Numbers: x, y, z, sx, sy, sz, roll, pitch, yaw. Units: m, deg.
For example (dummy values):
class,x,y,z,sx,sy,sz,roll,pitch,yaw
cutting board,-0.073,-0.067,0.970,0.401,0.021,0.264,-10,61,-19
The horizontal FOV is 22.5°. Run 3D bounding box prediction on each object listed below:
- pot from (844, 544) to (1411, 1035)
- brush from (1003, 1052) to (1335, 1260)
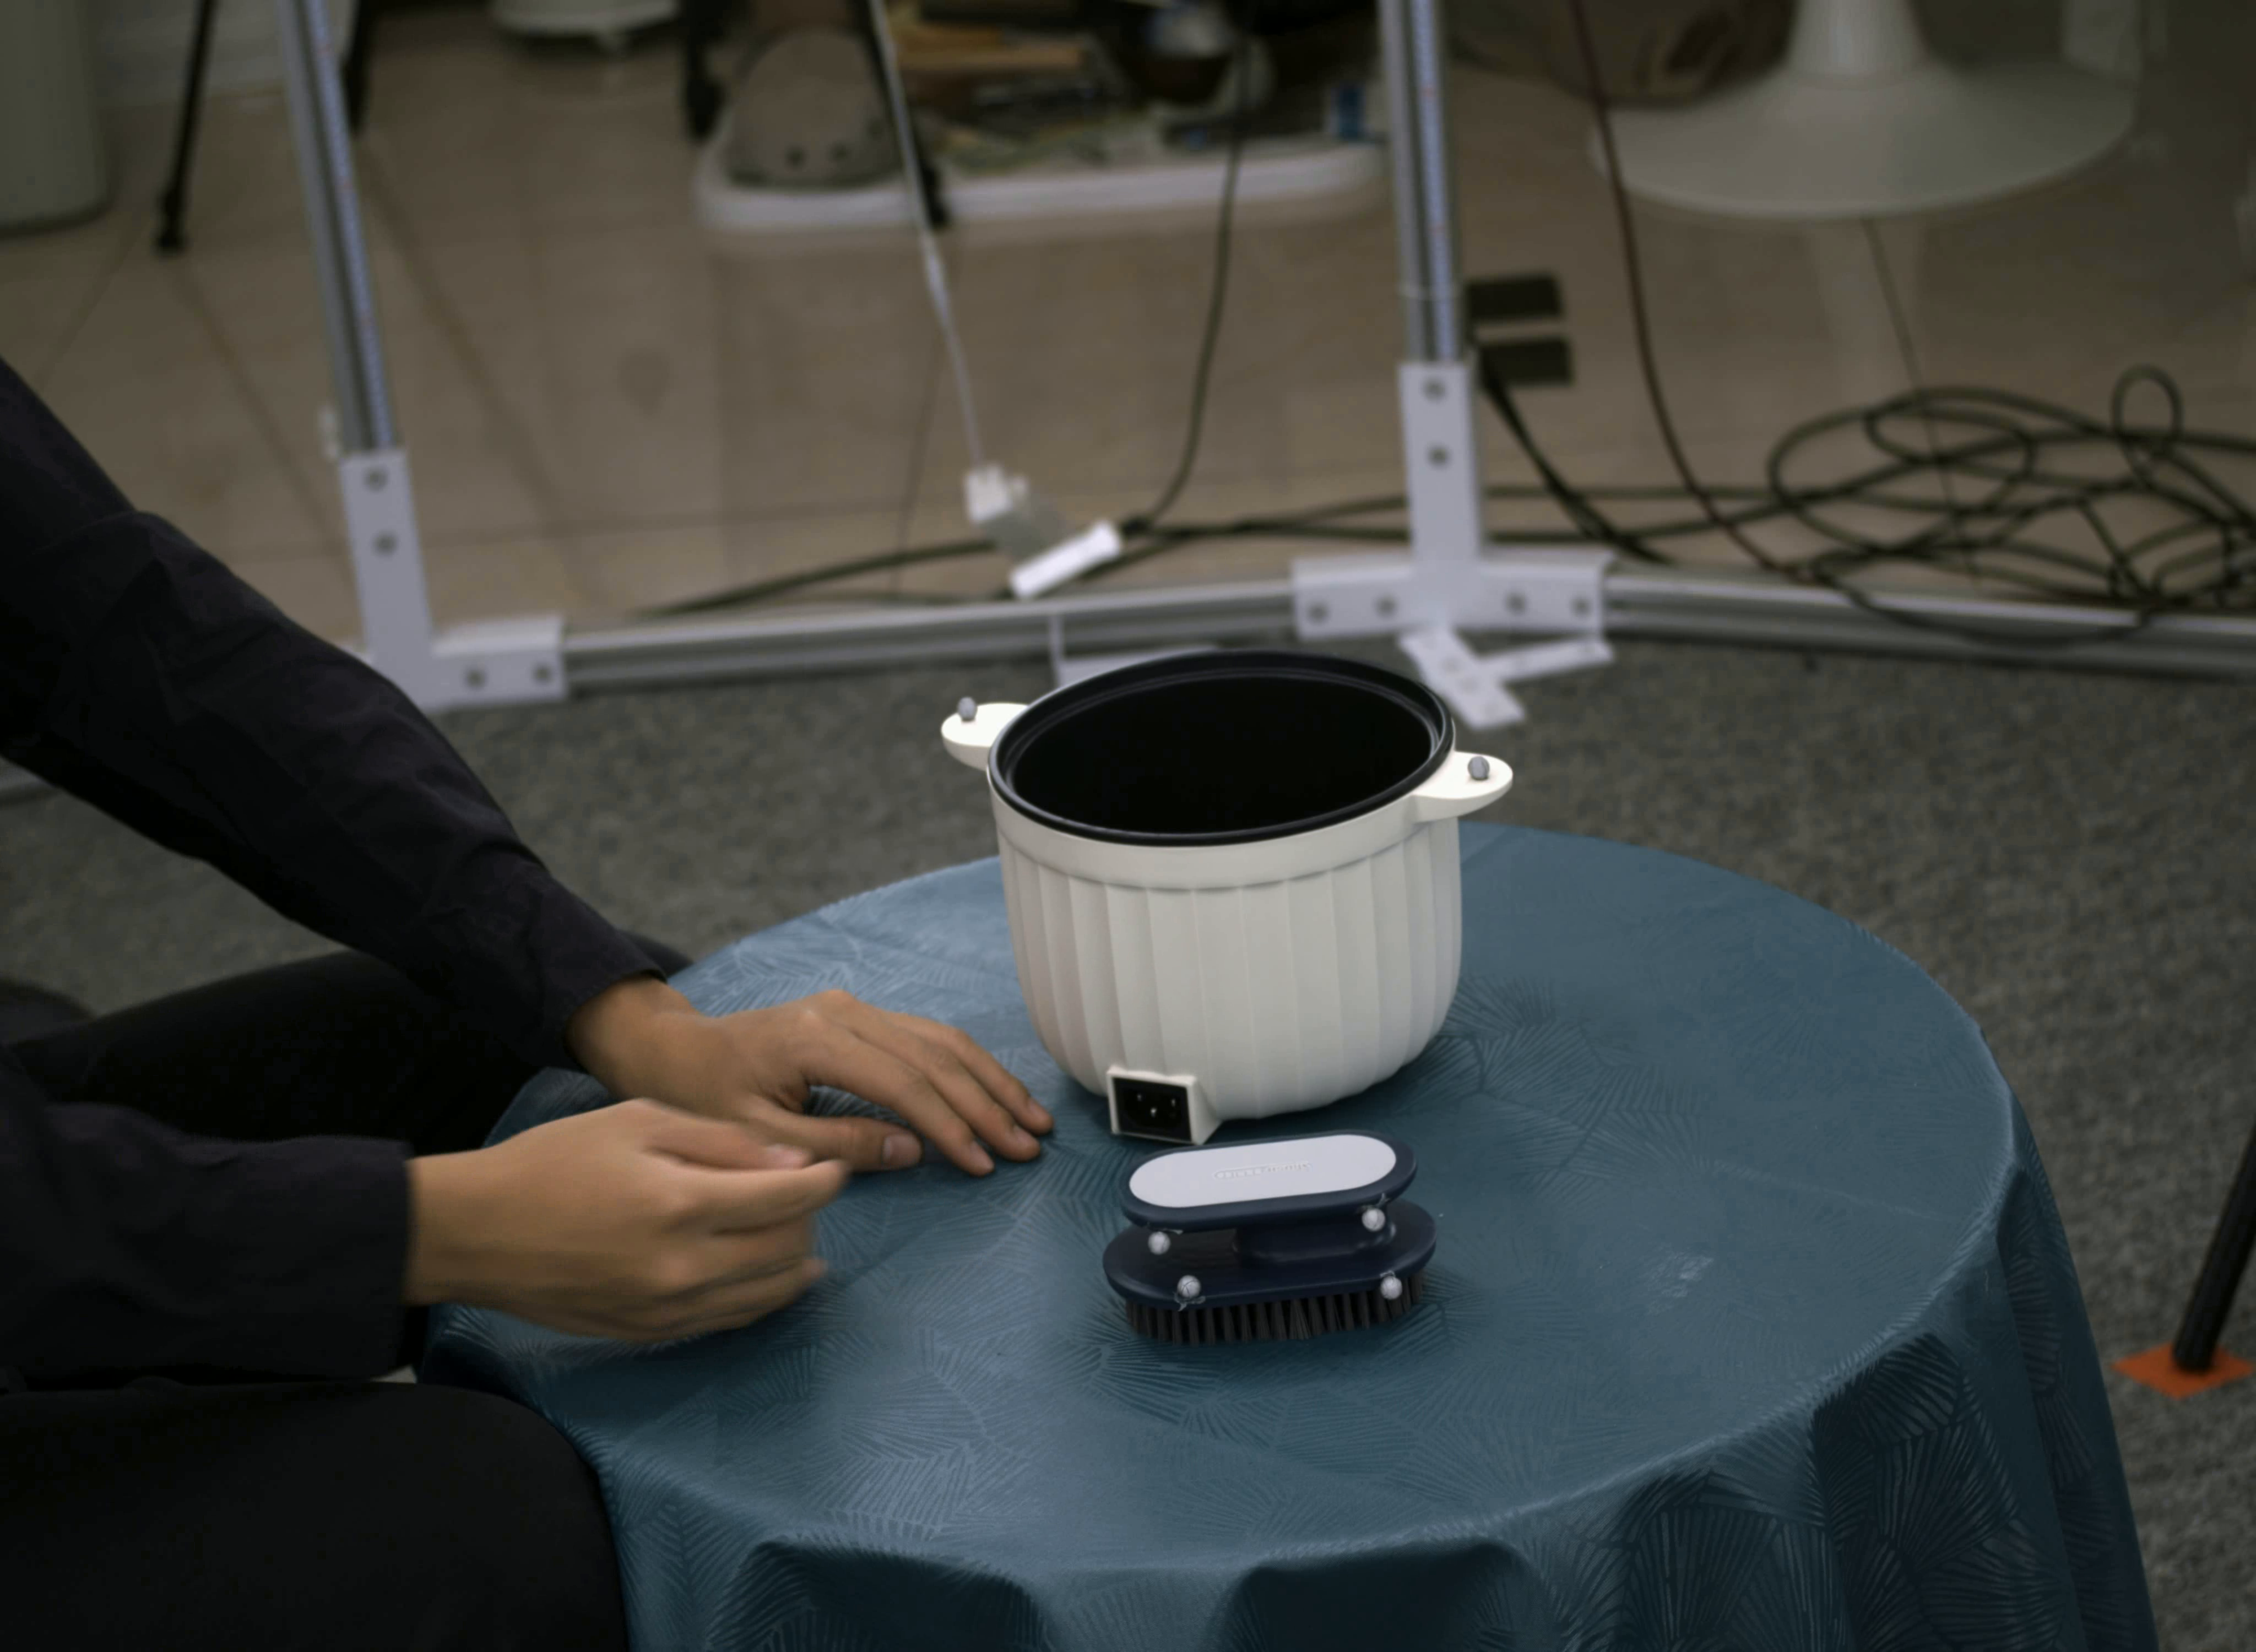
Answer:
class,x,y,z,sx,sy,sz,roll,pitch,yaw
pot,0.005,-0.018,2.246,0.239,0.145,0.188,8,32,24
brush,0.015,0.122,2.068,0.121,0.062,0.067,-1,29,2
